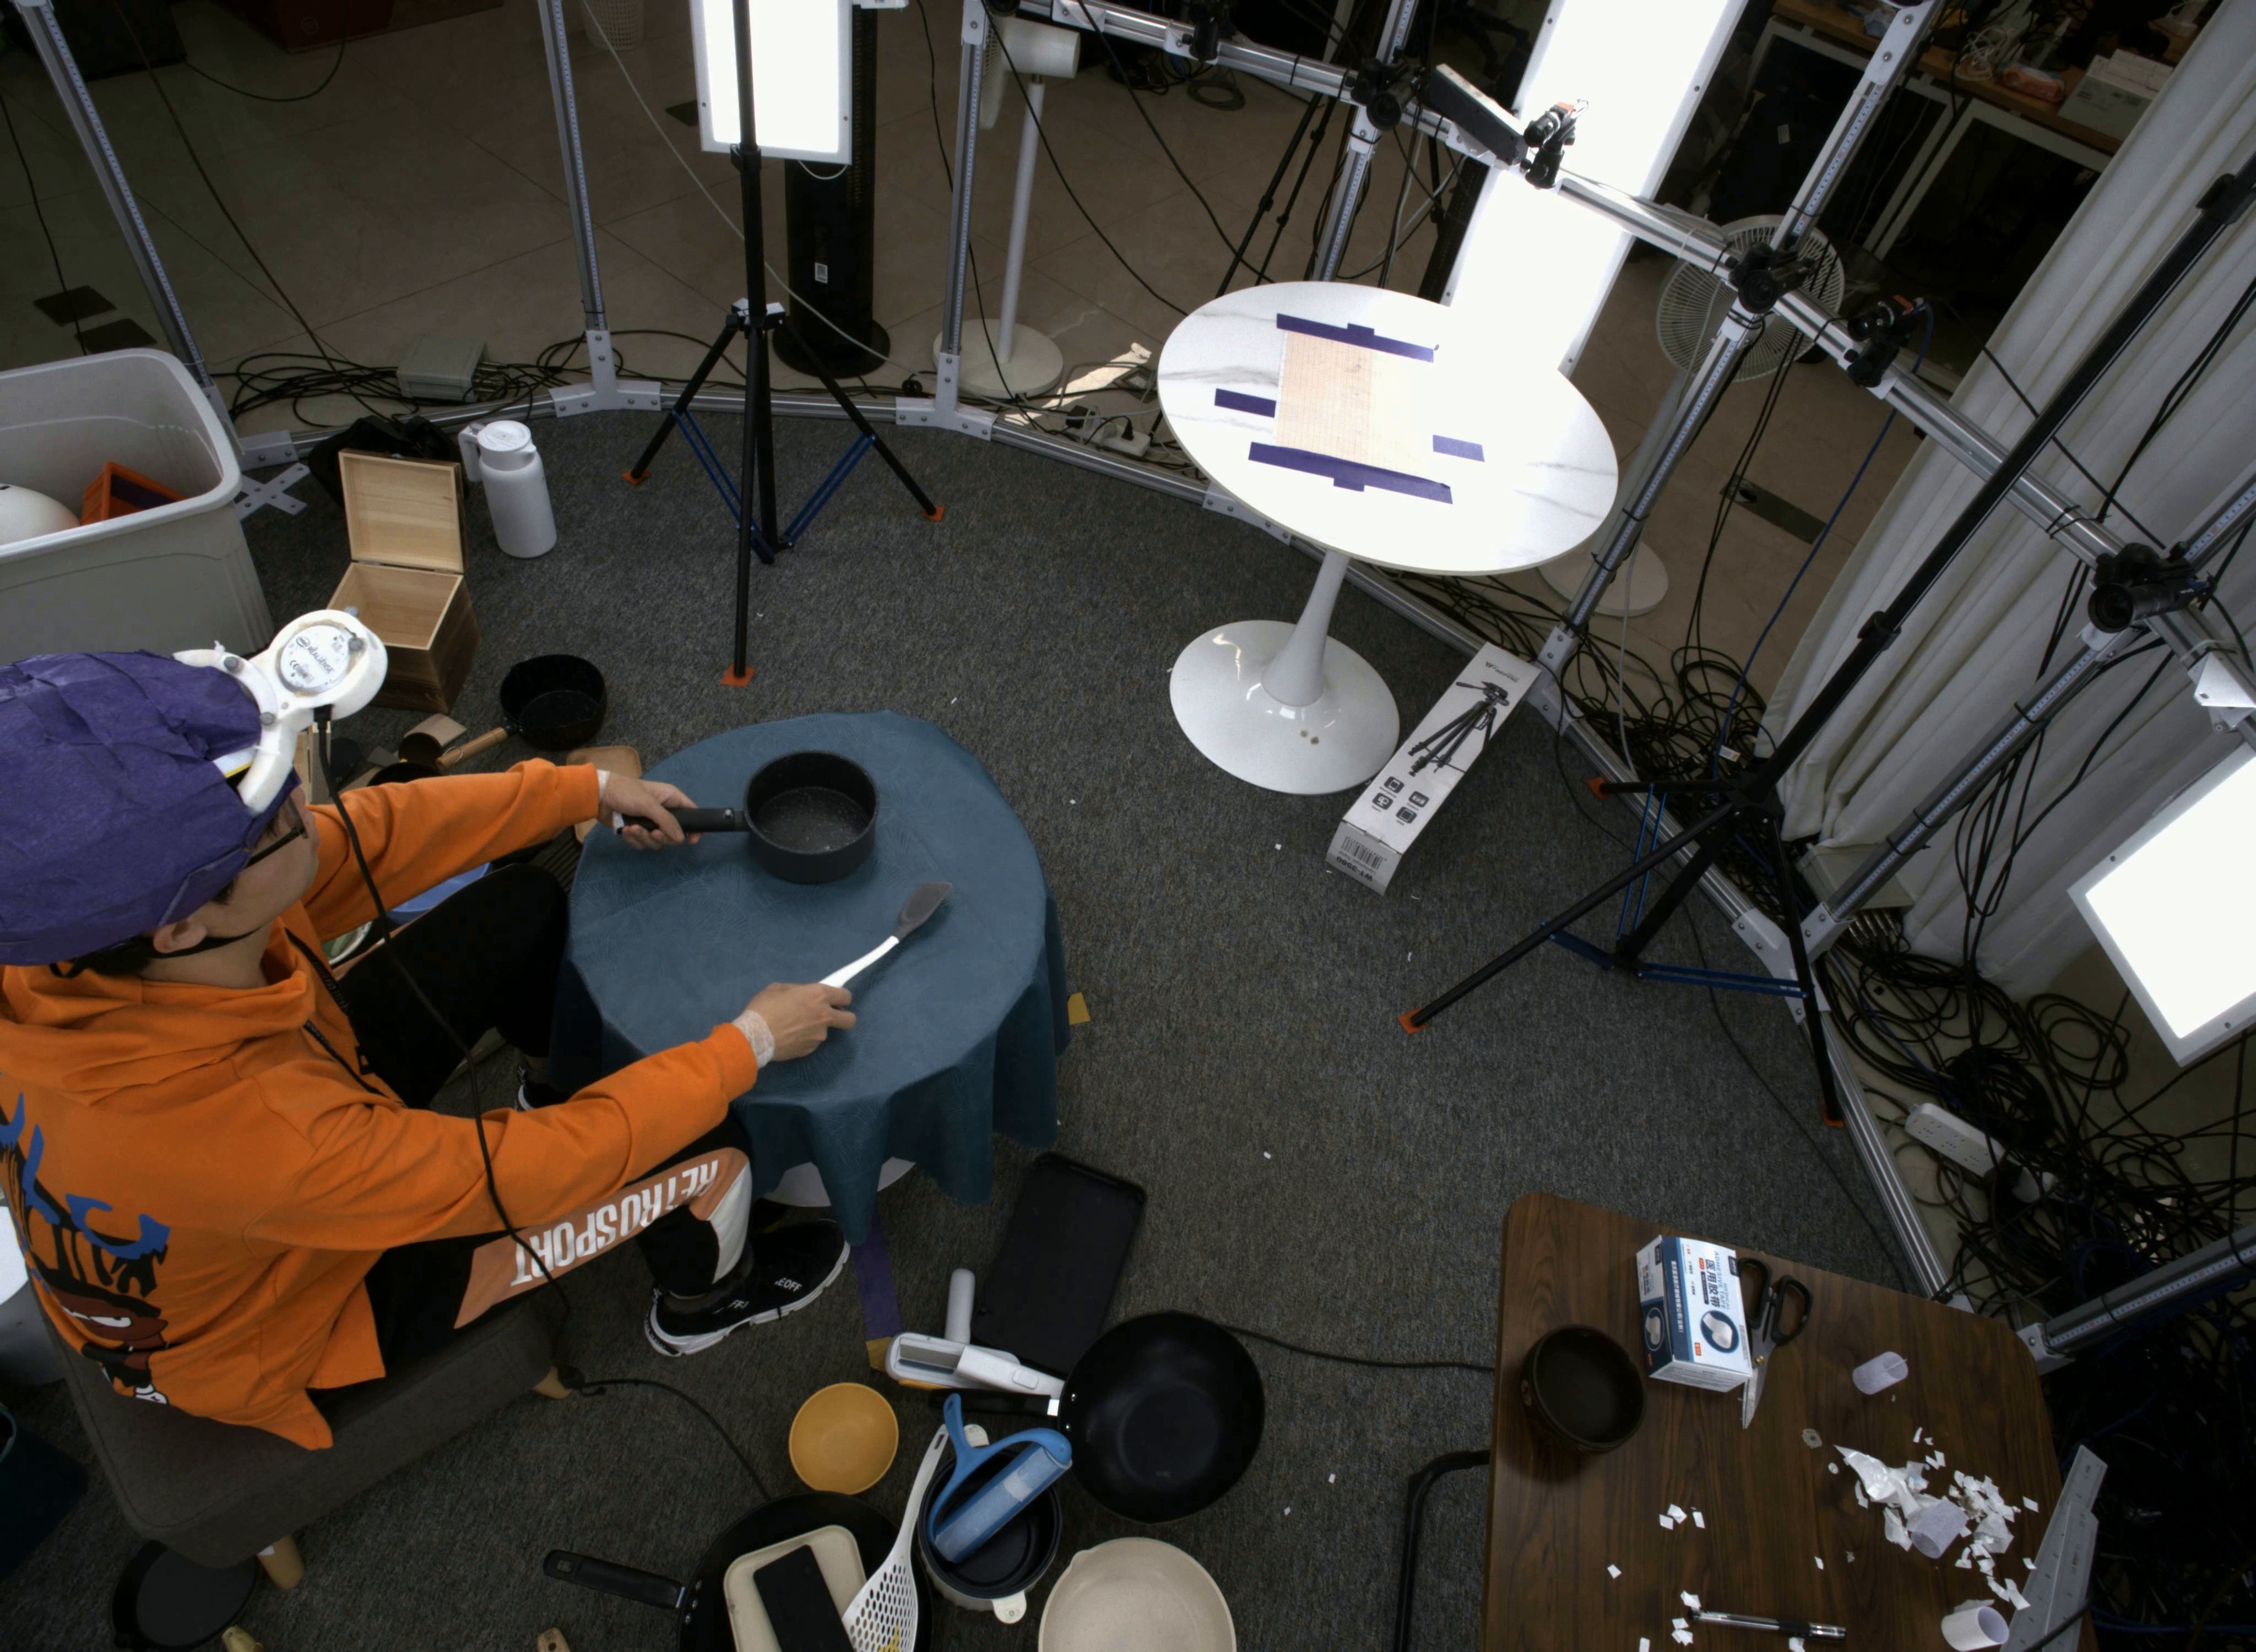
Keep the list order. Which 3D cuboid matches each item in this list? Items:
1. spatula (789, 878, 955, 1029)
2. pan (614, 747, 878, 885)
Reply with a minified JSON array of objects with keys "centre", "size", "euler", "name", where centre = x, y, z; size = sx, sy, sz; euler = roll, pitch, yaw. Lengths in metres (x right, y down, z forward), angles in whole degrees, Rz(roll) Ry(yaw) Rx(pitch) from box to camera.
[{"centre":[-0.309,0.148,1.592],"size":[0.057,0.033,0.287],"euler":[2,31,33],"name":"spatula"},{"centre":[-0.486,-0.007,1.647],"size":[0.330,0.088,0.168],"euler":[-4,54,-20],"name":"pan"}]
